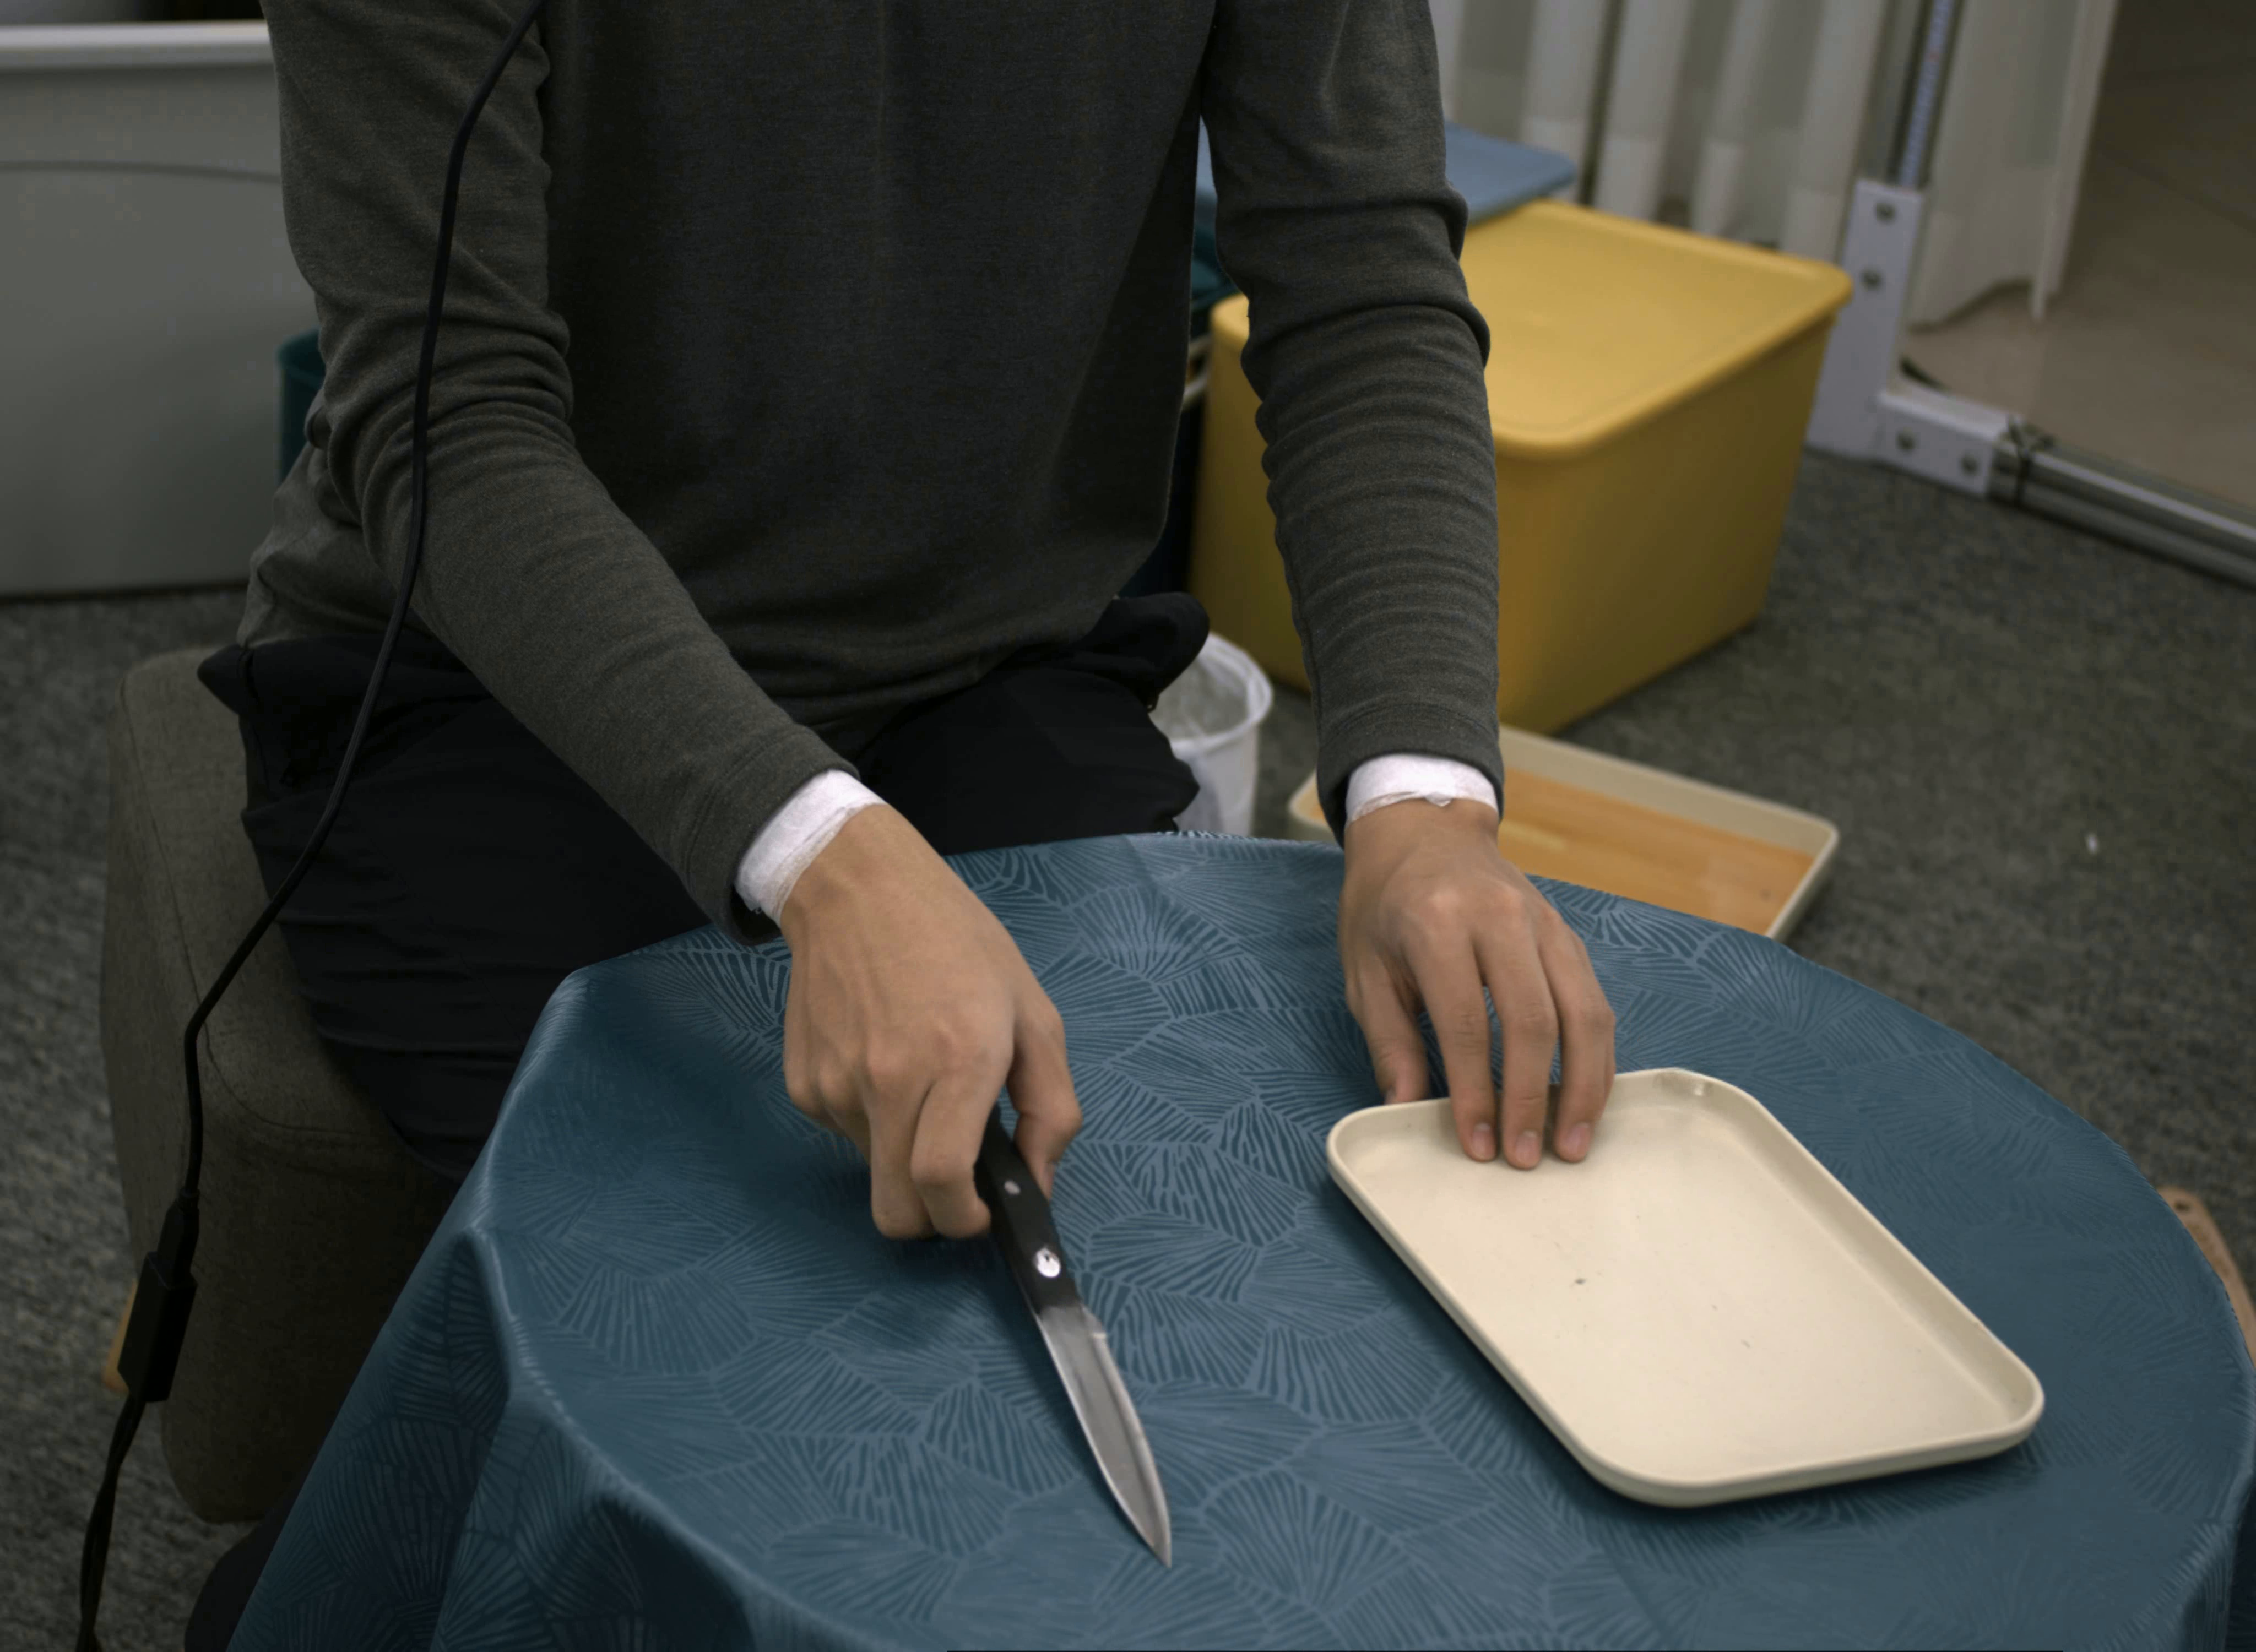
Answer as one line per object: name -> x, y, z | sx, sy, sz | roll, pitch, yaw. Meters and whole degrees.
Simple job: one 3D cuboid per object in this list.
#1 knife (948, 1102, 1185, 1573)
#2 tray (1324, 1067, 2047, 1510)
knife -> -0.021, 0.162, 1.703 | 0.024, 0.016, 0.240 | 1, 32, -20
tray -> 0.181, 0.152, 1.771 | 0.170, 0.017, 0.242 | -7, 29, -23
